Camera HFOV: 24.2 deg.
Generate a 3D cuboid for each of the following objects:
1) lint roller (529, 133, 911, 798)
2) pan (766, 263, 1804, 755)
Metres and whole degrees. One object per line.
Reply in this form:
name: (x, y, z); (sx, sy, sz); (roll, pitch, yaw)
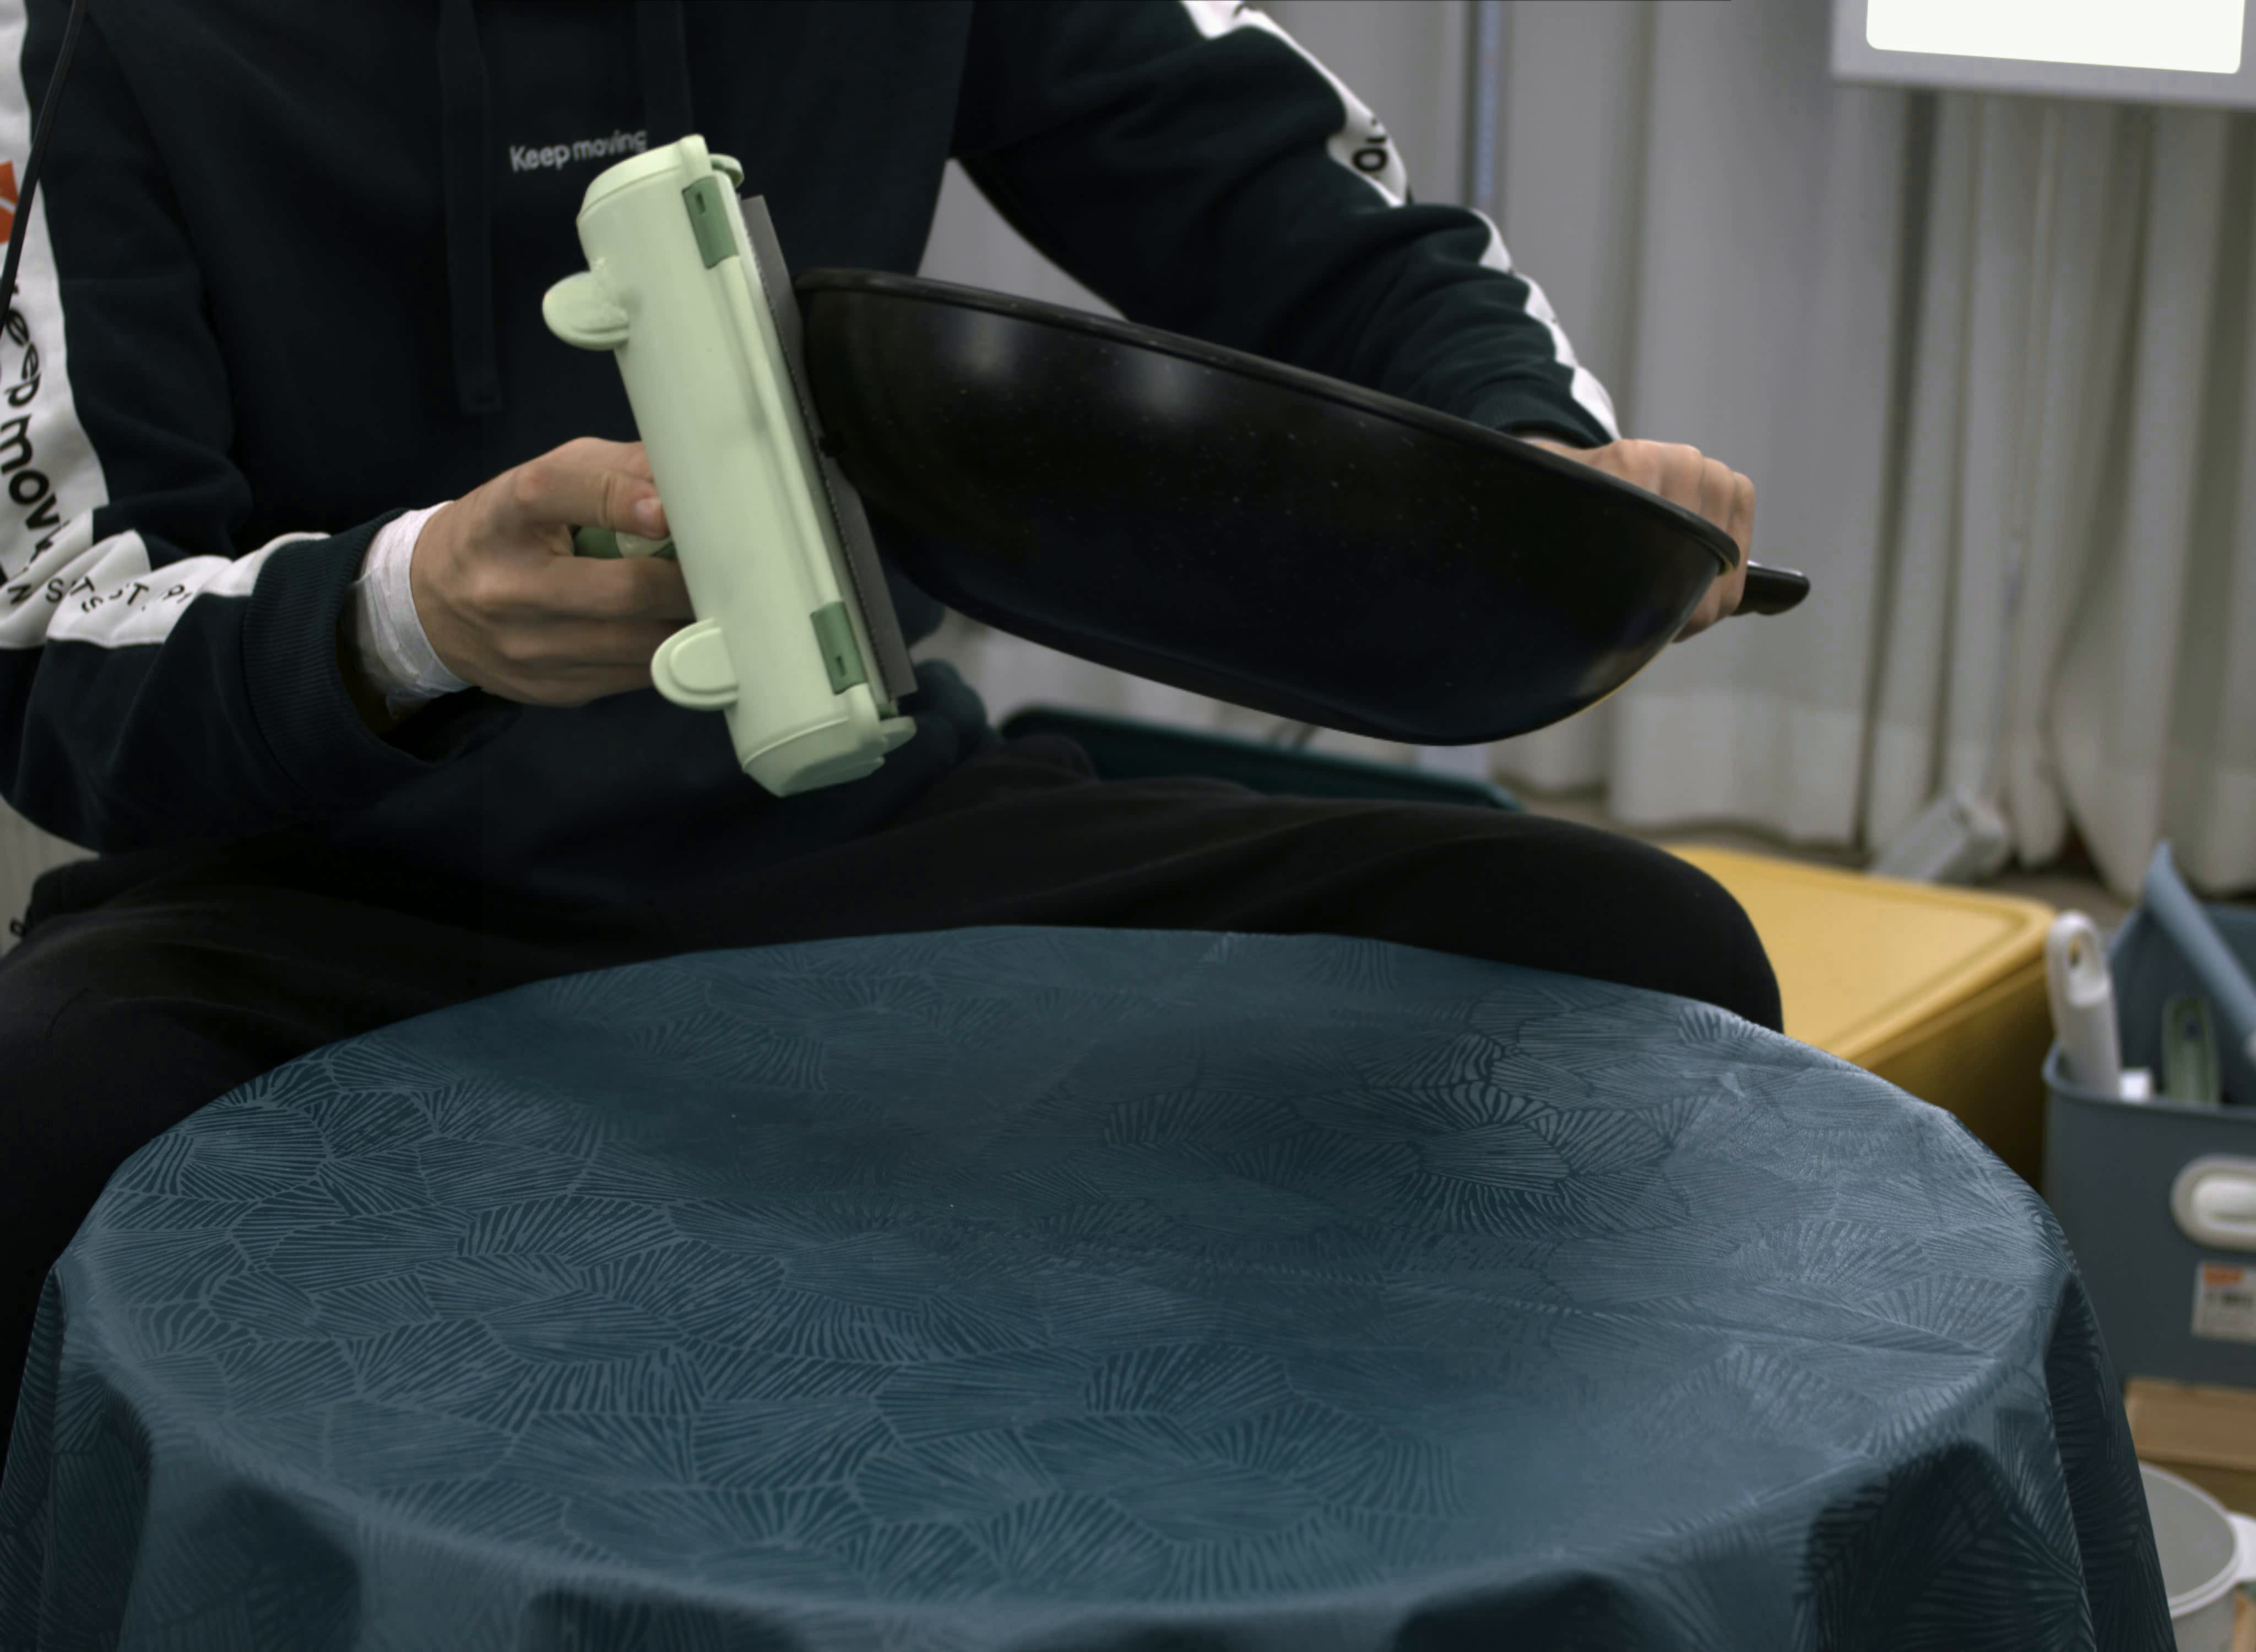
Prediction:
lint roller: (-0.155, -0.089, 1.617); (0.082, 0.198, 0.182); (-11, -10, -42)
pan: (0.078, -0.081, 1.694); (0.306, 0.112, 0.482); (16, -1, 37)
